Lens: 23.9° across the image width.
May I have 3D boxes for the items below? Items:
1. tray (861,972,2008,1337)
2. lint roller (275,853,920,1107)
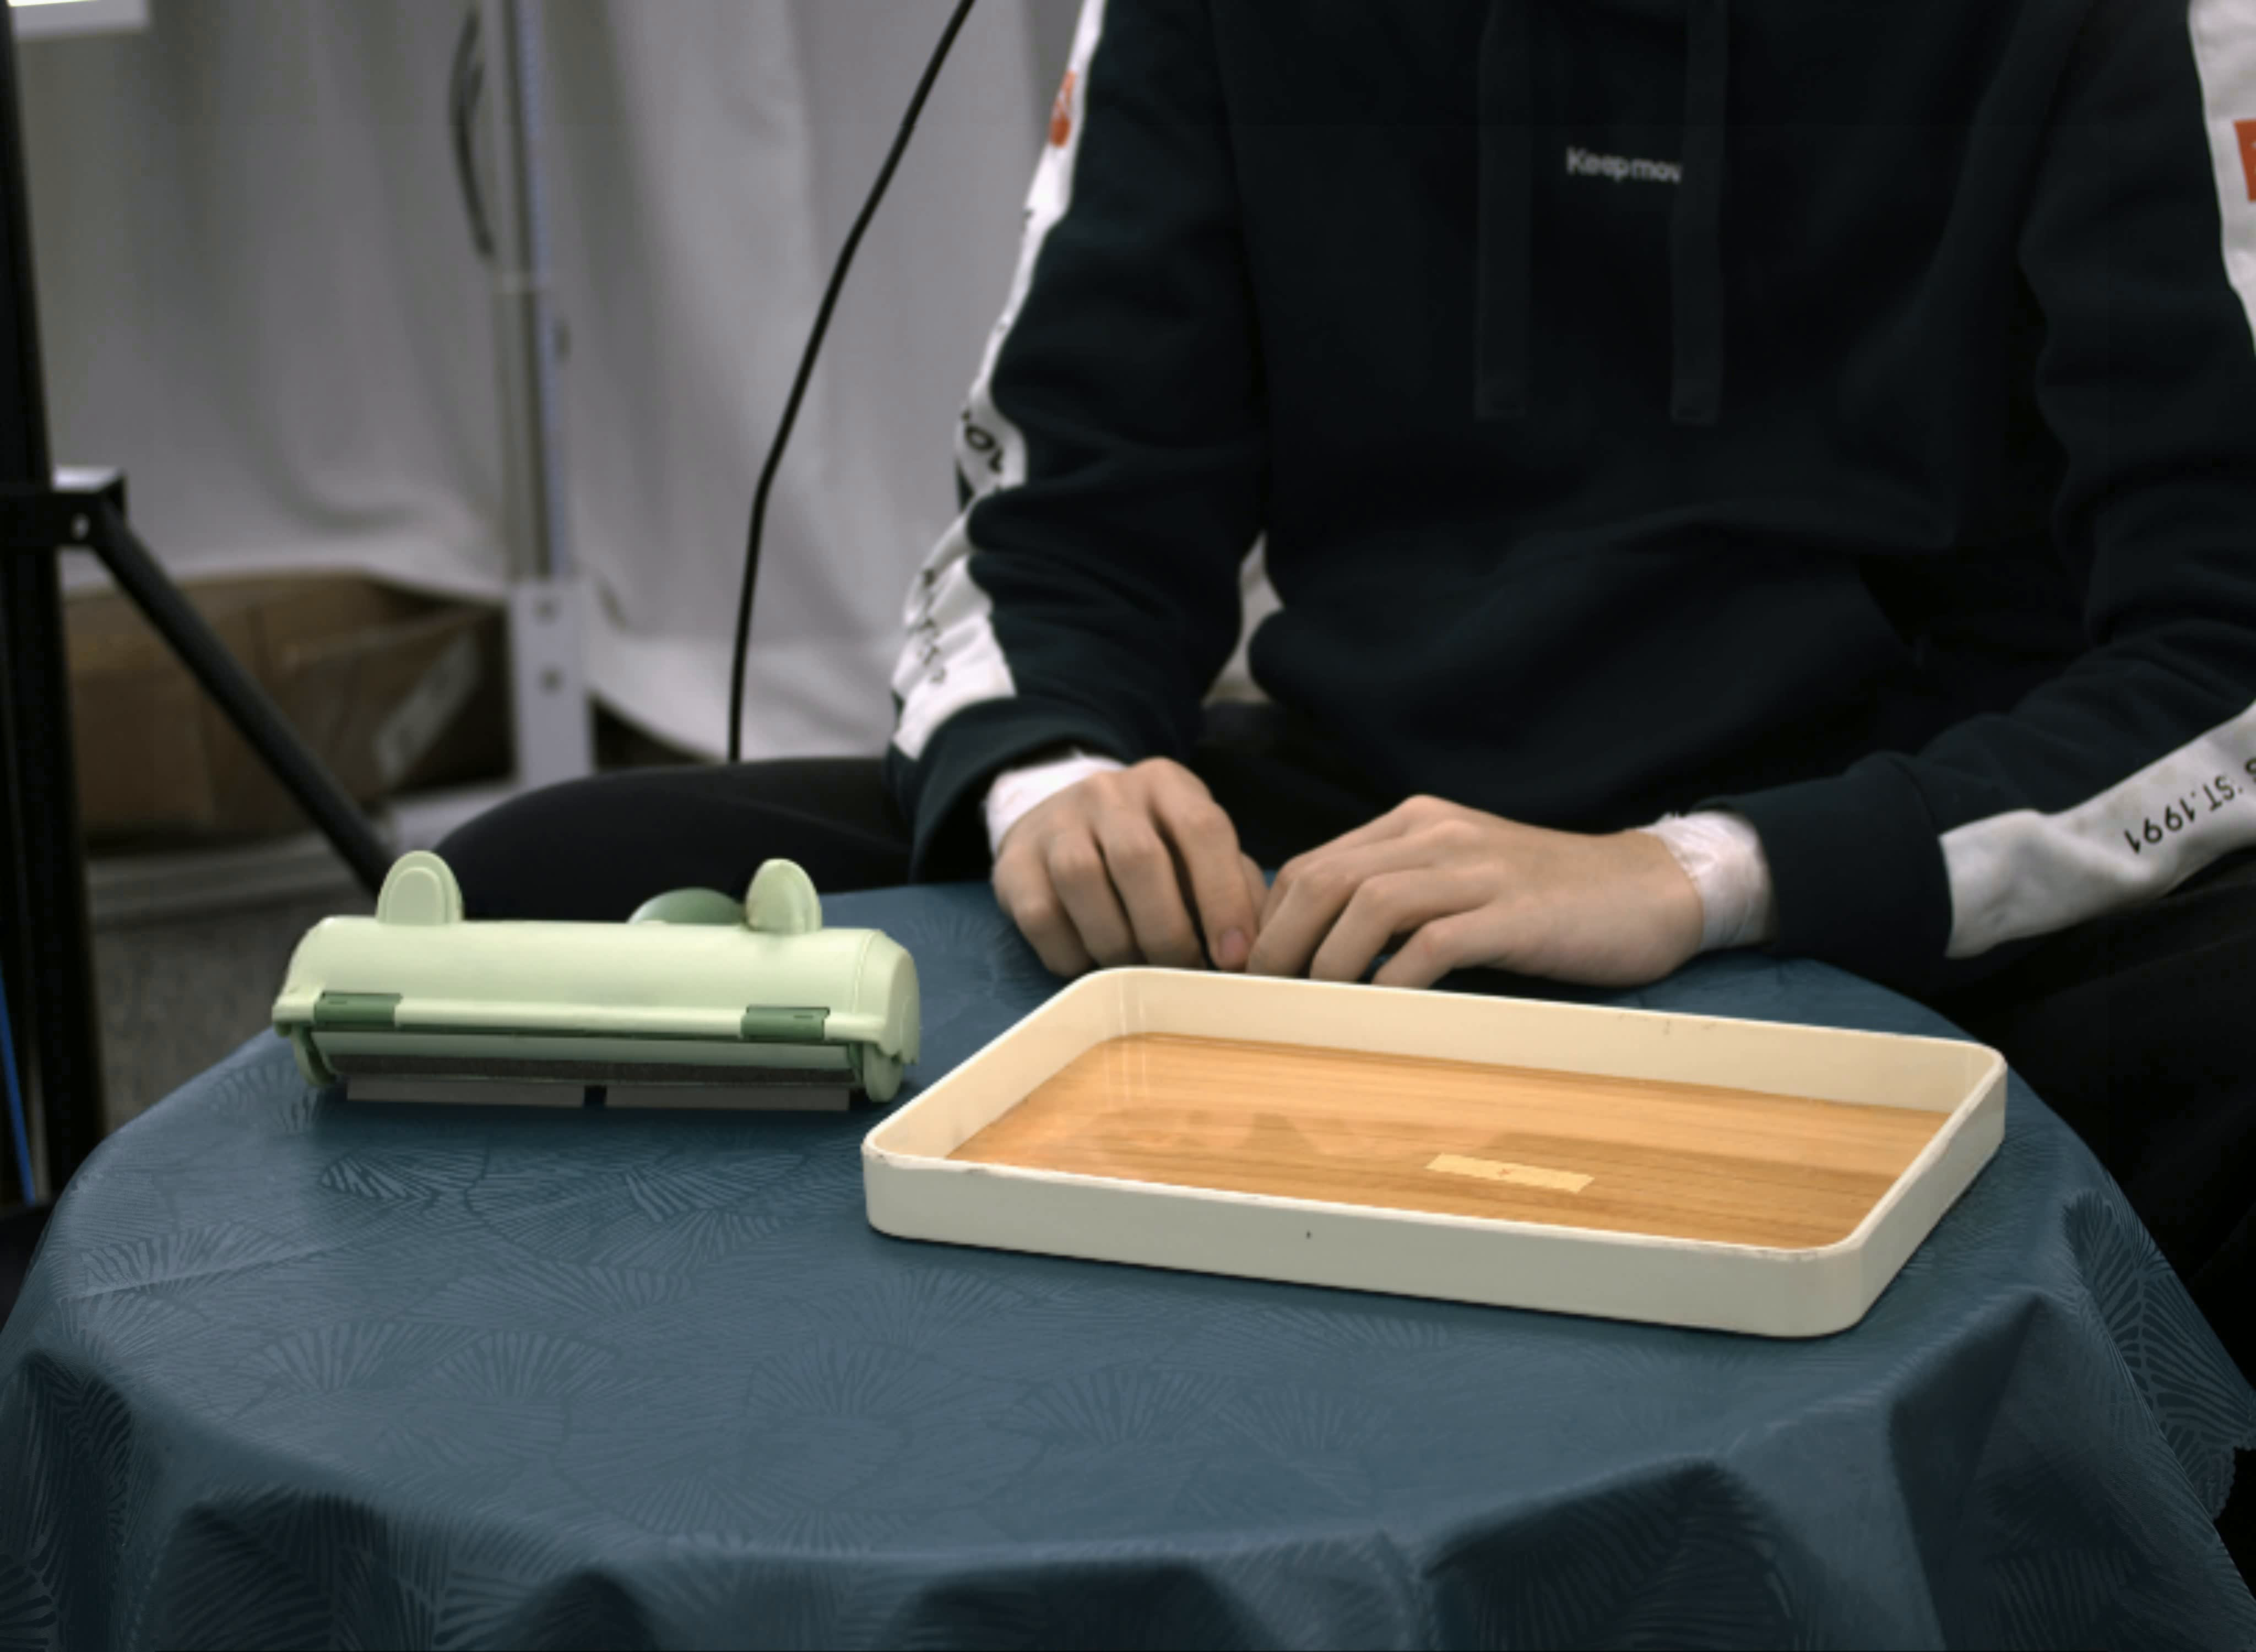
[{"bbox_3d":[0.091,0.093,1.547,0.305,0.027,0.189,5,17,25],"label":"tray"},{"bbox_3d":[-0.155,0.032,1.713,0.200,0.082,0.182,1,20,12],"label":"lint roller"}]
